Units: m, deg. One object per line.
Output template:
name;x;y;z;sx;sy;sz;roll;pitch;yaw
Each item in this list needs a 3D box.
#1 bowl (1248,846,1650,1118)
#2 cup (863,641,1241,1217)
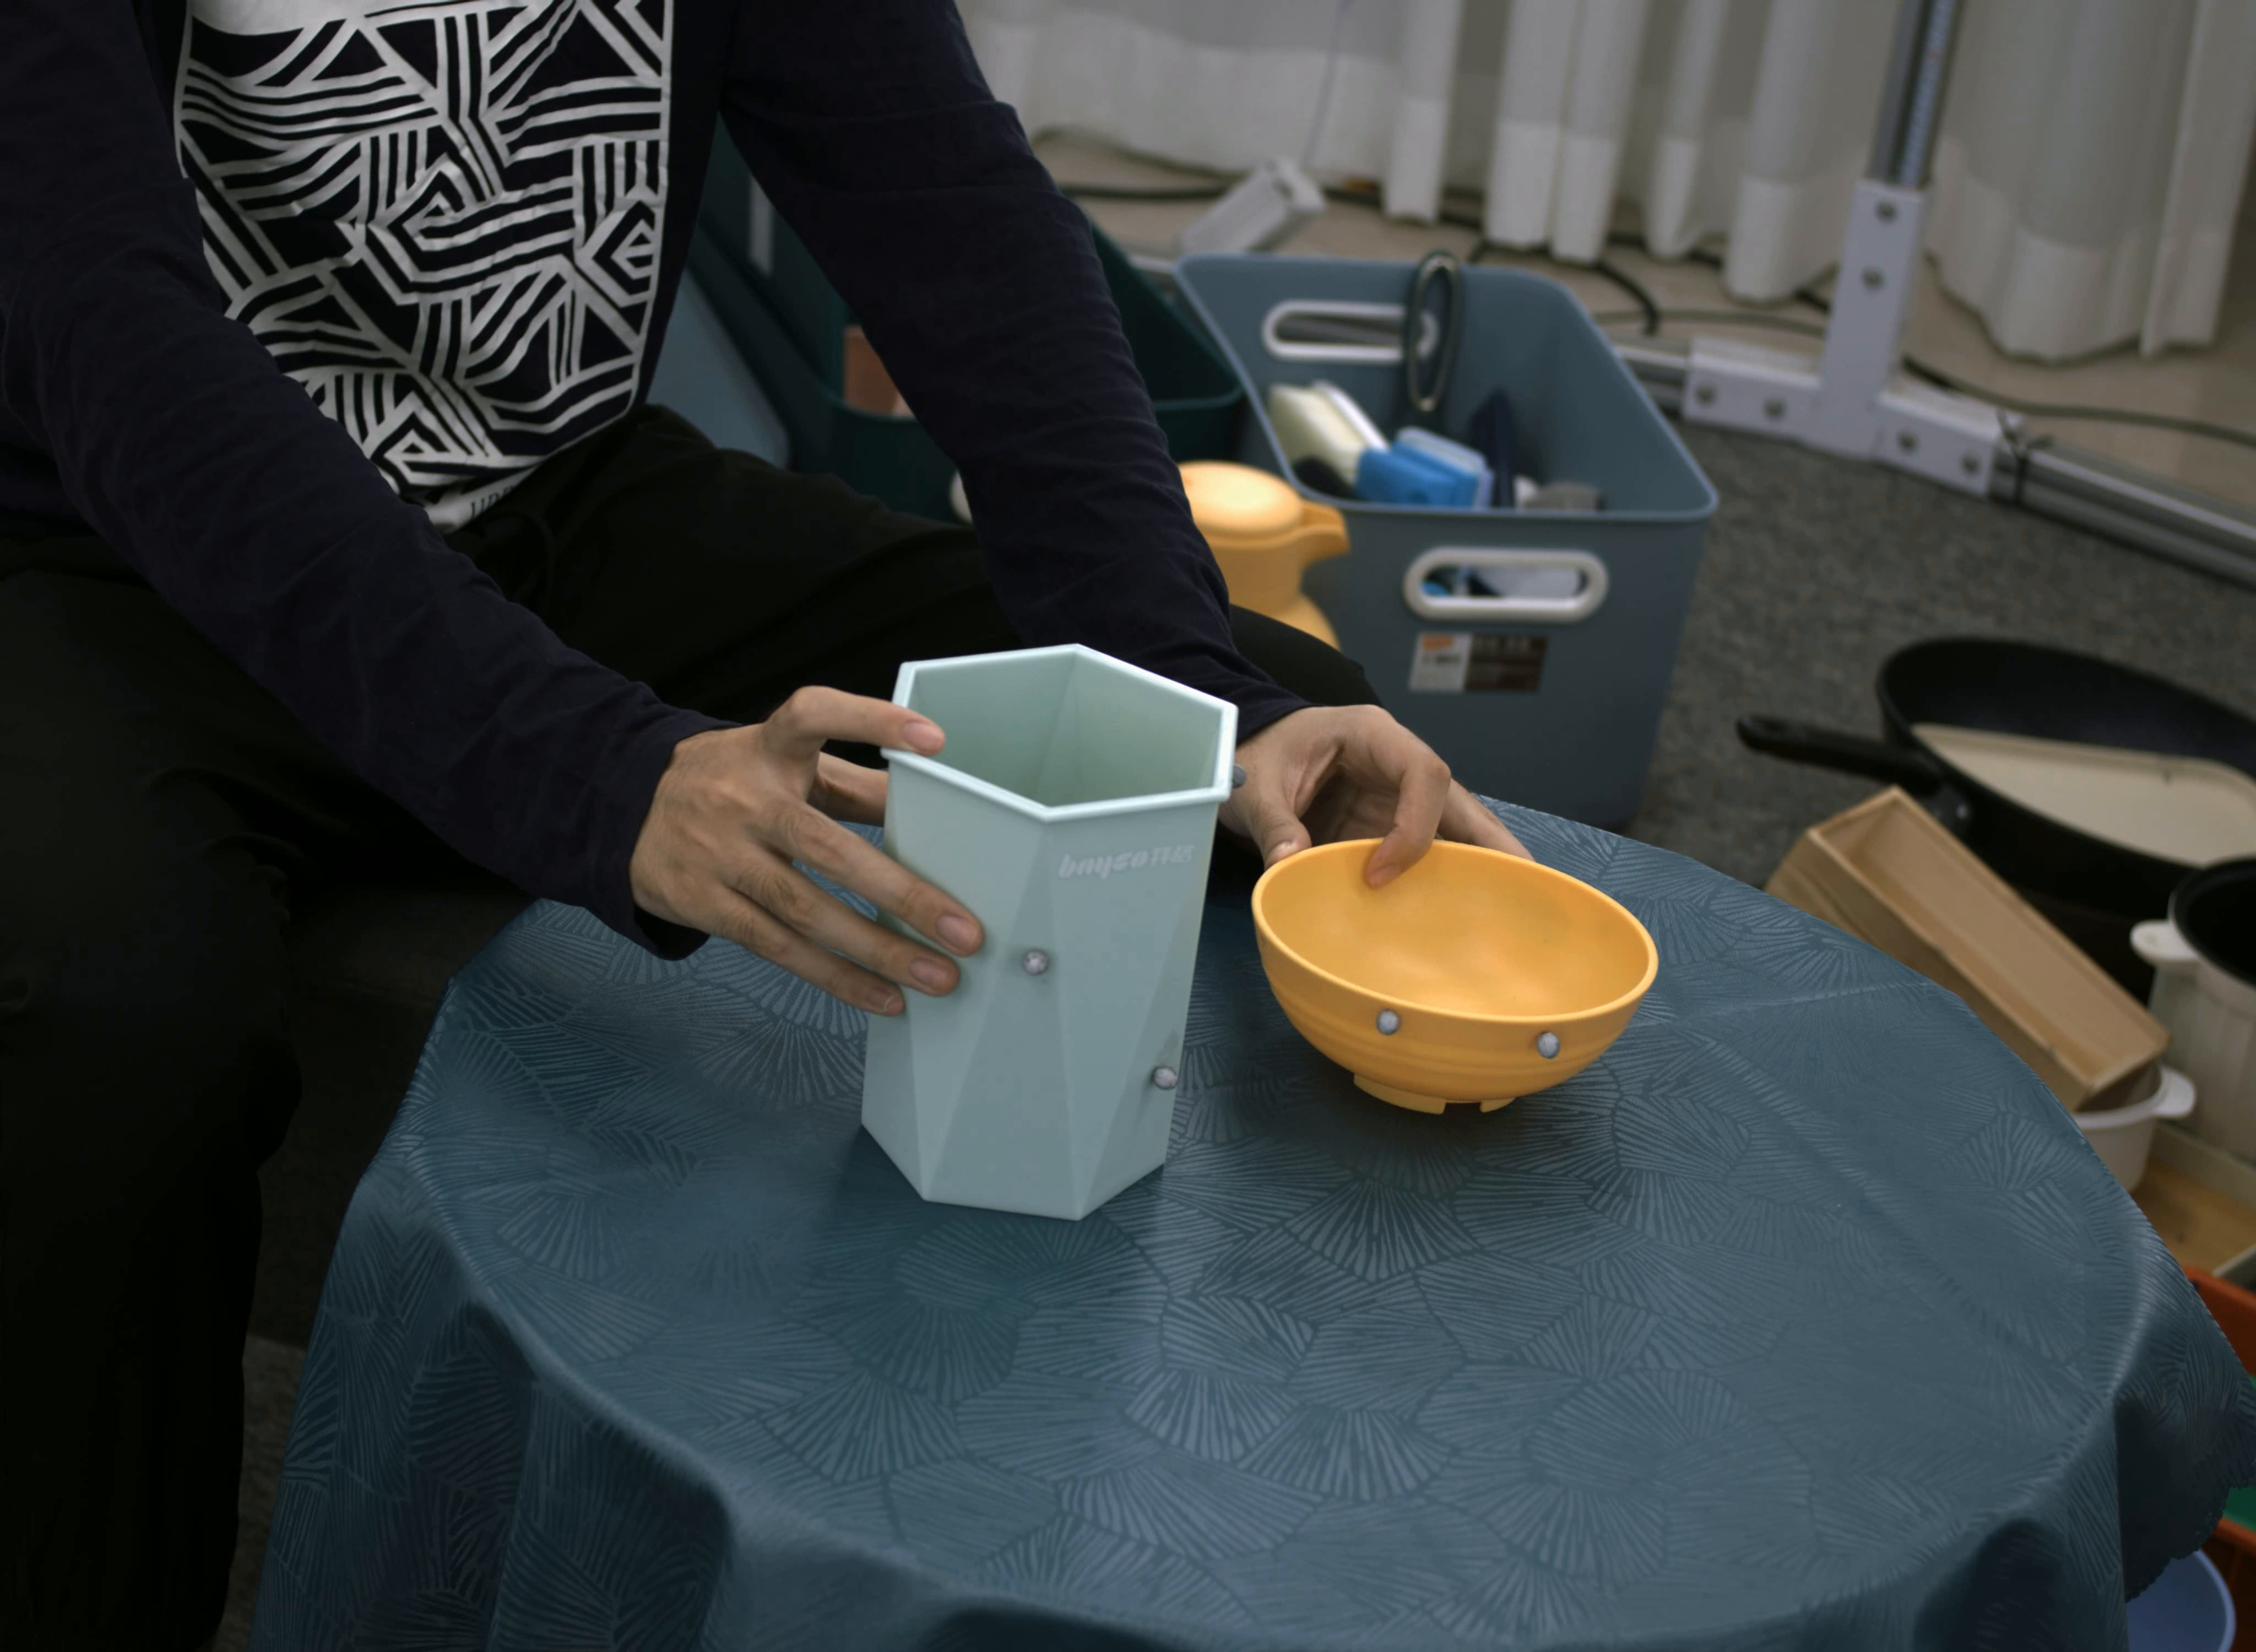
bowl;0.109;0.063;1.887;0.145;0.060;0.146;8;22;-3
cup;-0.029;0.037;1.790;0.130;0.162;0.116;-7;29;-27
